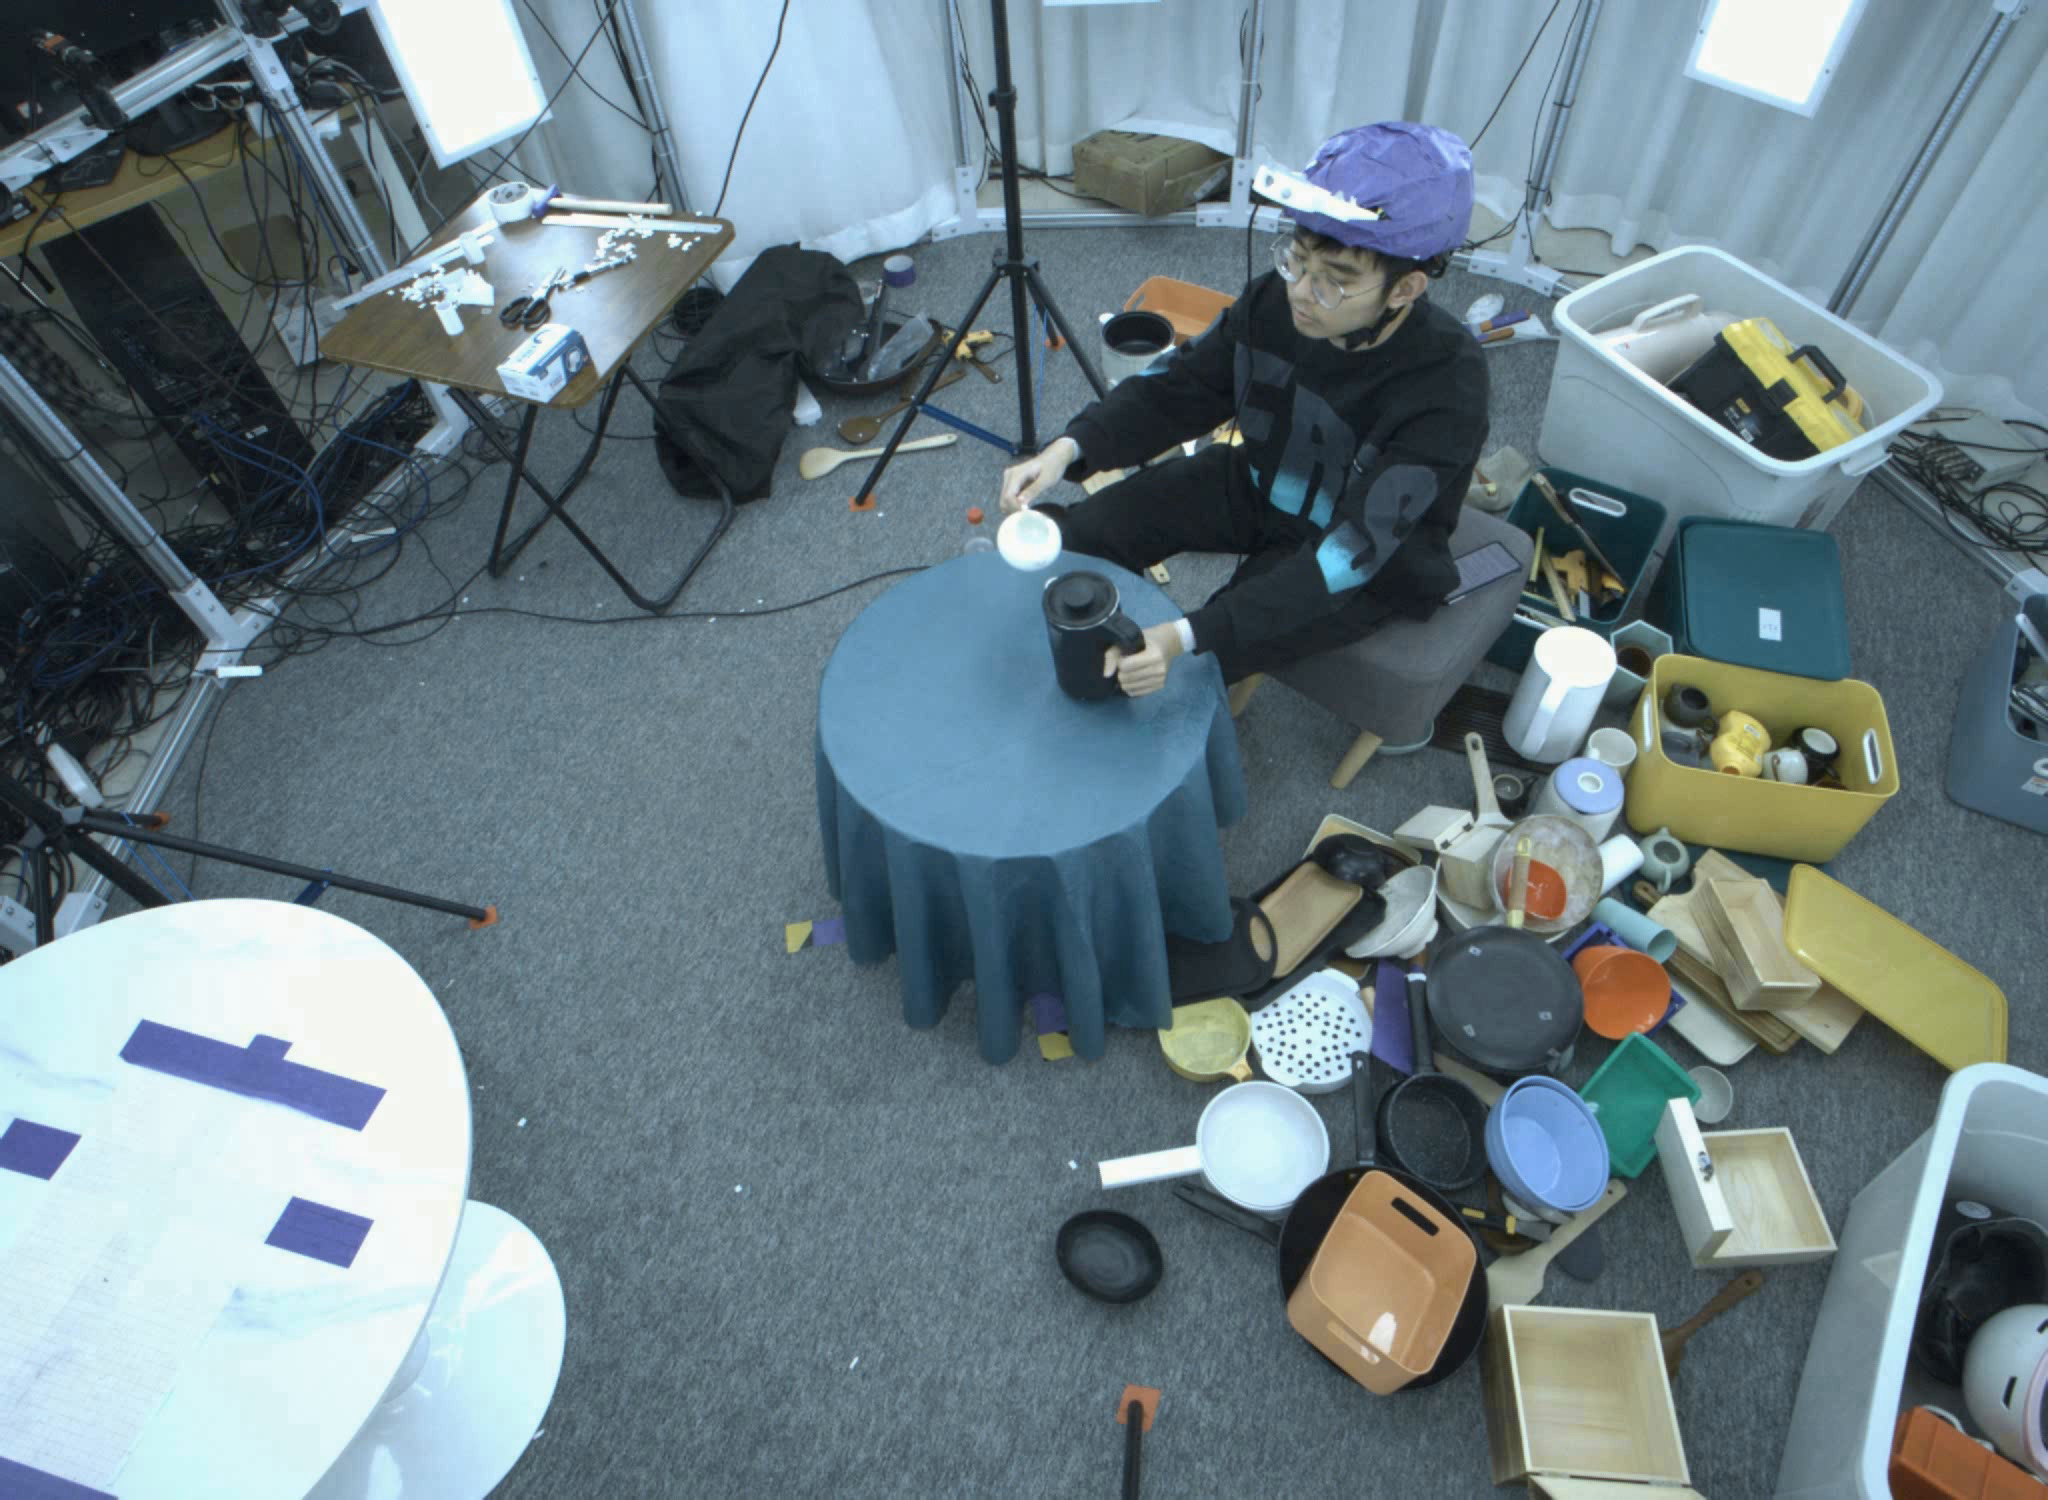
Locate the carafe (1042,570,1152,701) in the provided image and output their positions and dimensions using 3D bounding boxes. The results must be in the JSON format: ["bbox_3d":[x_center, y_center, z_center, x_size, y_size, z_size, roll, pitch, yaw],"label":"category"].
[{"bbox_3d":[0.106,-0.156,1.760,0.168,0.176,0.115,33,64,30],"label":"carafe"}]

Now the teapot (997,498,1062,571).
[{"bbox_3d":[0.004,-0.310,1.768,0.094,0.057,0.126,-17,68,-15],"label":"teapot"}]
